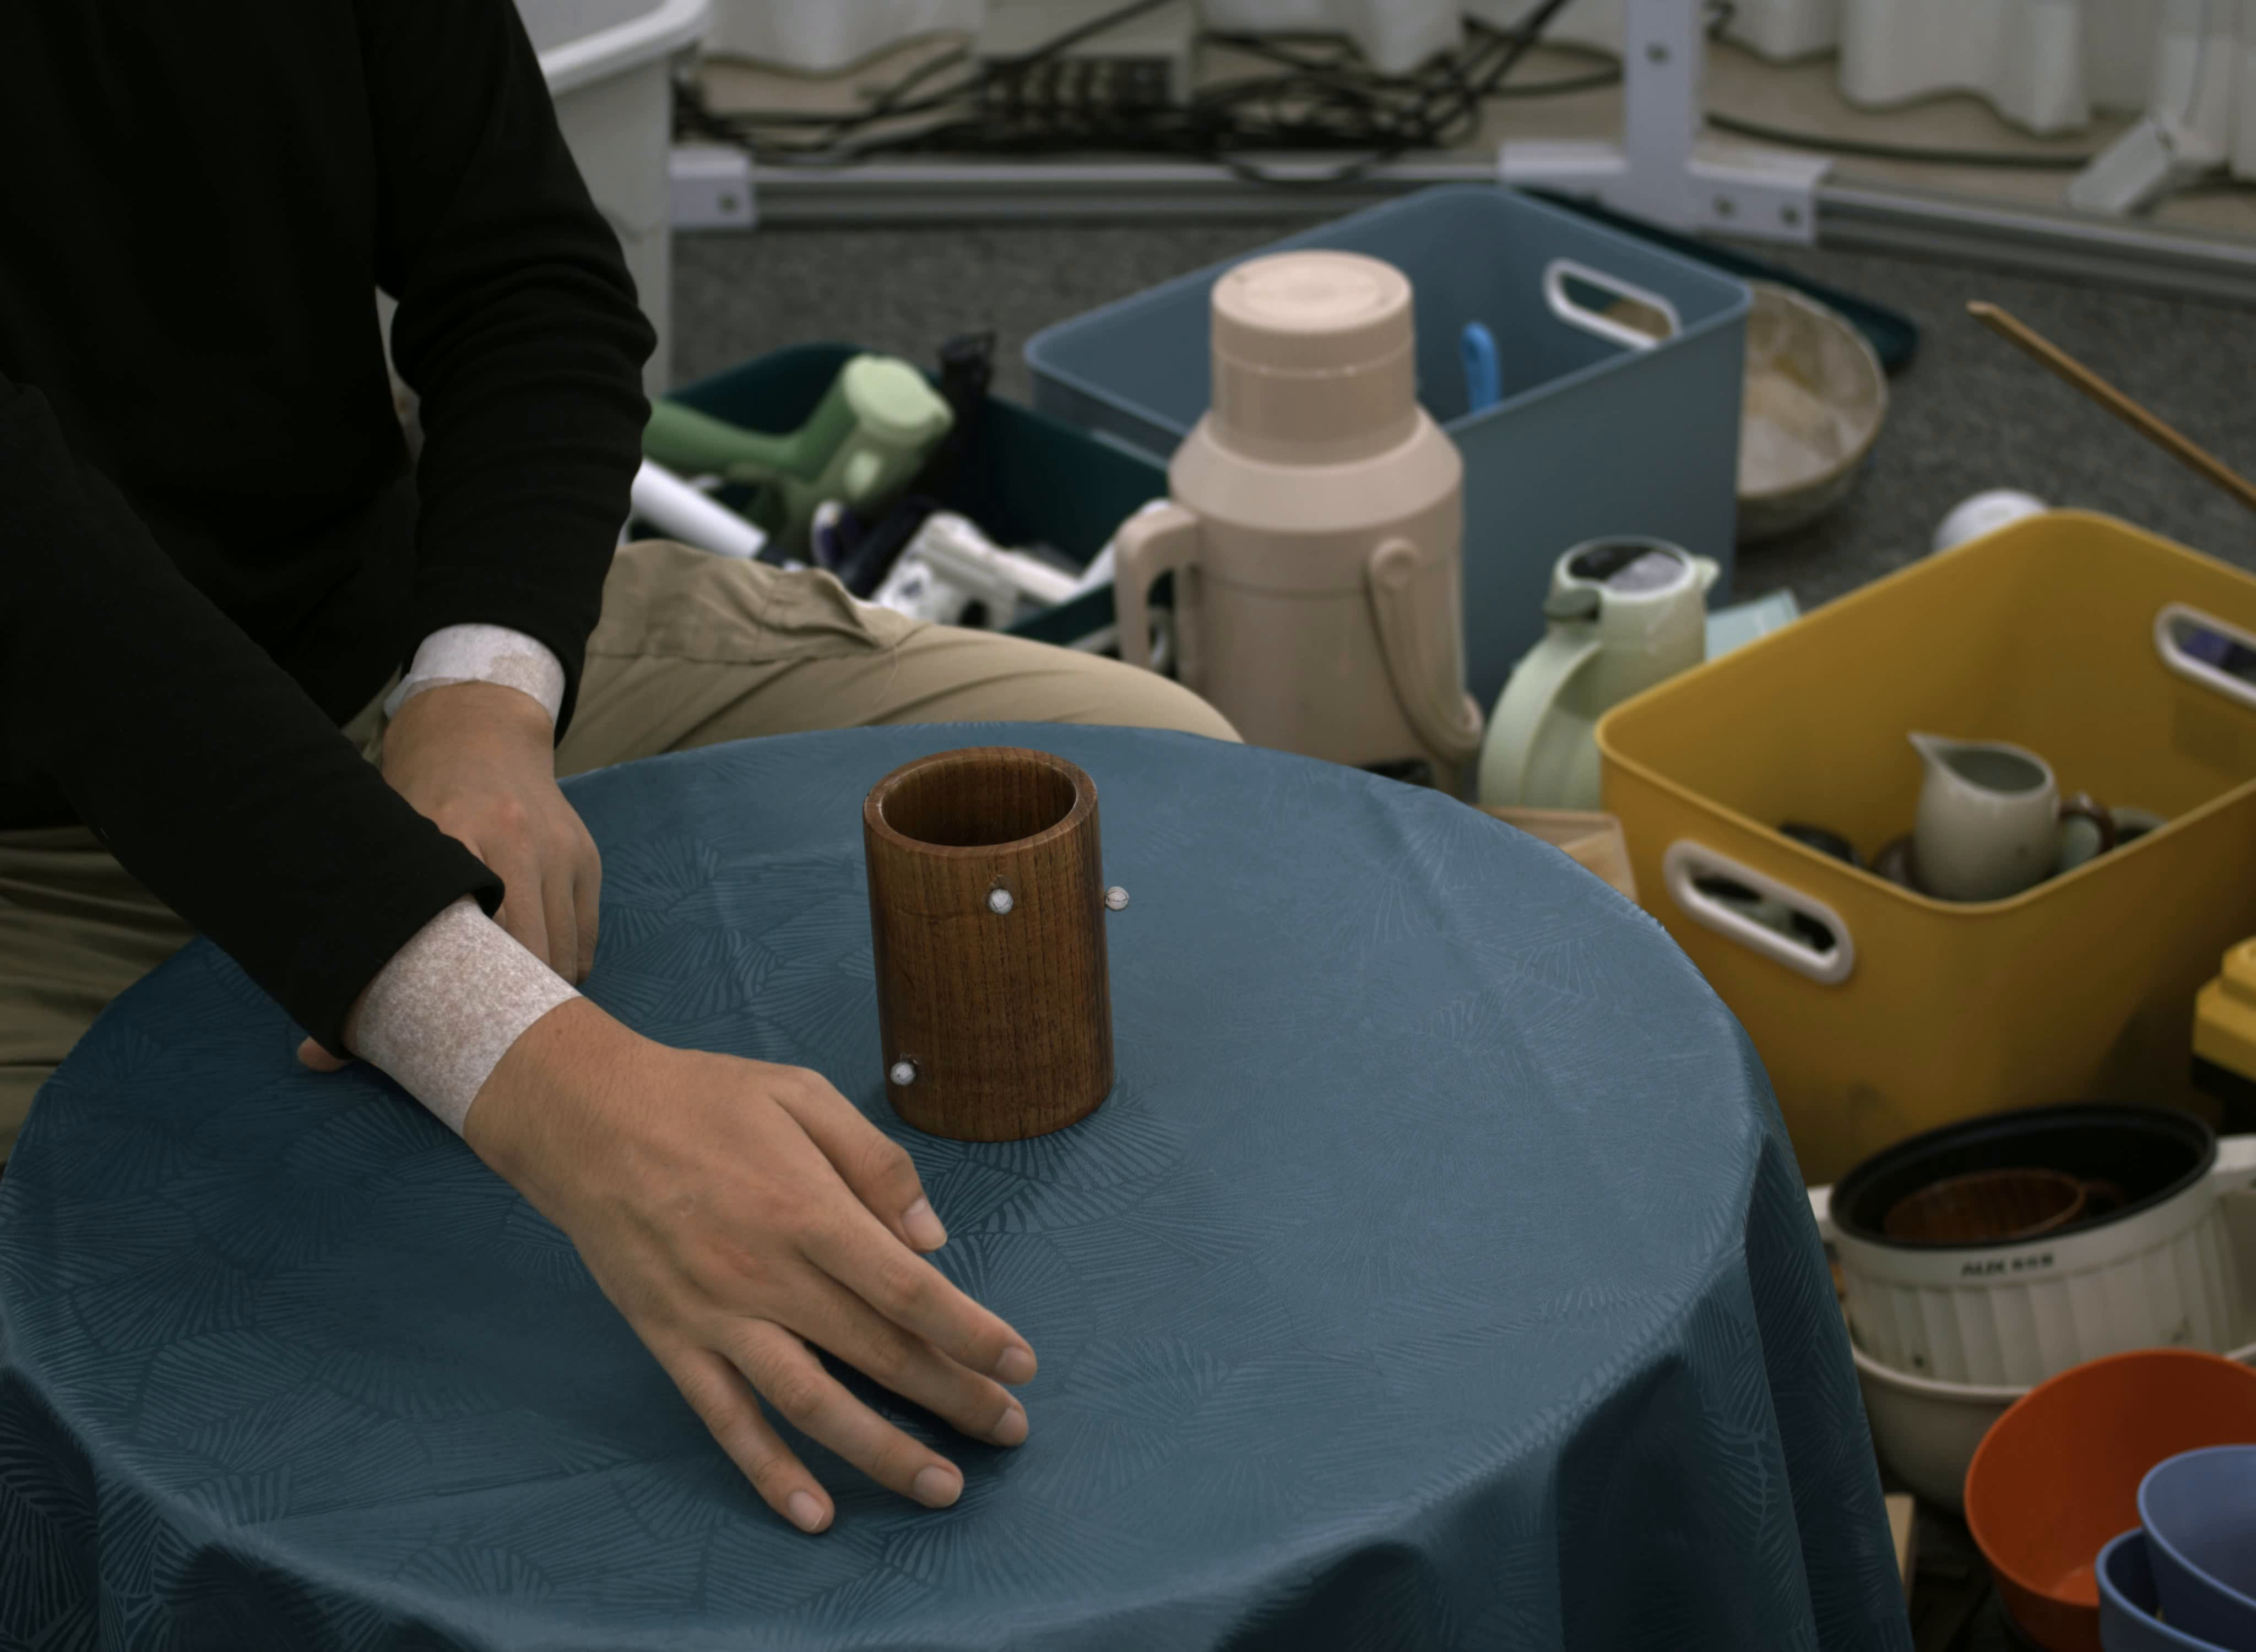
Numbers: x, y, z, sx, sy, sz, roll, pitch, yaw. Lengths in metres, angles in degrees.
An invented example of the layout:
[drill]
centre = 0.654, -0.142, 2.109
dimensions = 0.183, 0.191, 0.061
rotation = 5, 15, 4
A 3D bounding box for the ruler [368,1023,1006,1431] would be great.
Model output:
[ruler]
centre = -0.151, 0.127, 1.849
dimensions = 0.027, 0.022, 0.332
rotation = 4, 16, -43

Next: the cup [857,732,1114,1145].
[cup]
centre = -0.047, 0.038, 1.902
dimensions = 0.087, 0.117, 0.089
rotation = -2, 25, 1
